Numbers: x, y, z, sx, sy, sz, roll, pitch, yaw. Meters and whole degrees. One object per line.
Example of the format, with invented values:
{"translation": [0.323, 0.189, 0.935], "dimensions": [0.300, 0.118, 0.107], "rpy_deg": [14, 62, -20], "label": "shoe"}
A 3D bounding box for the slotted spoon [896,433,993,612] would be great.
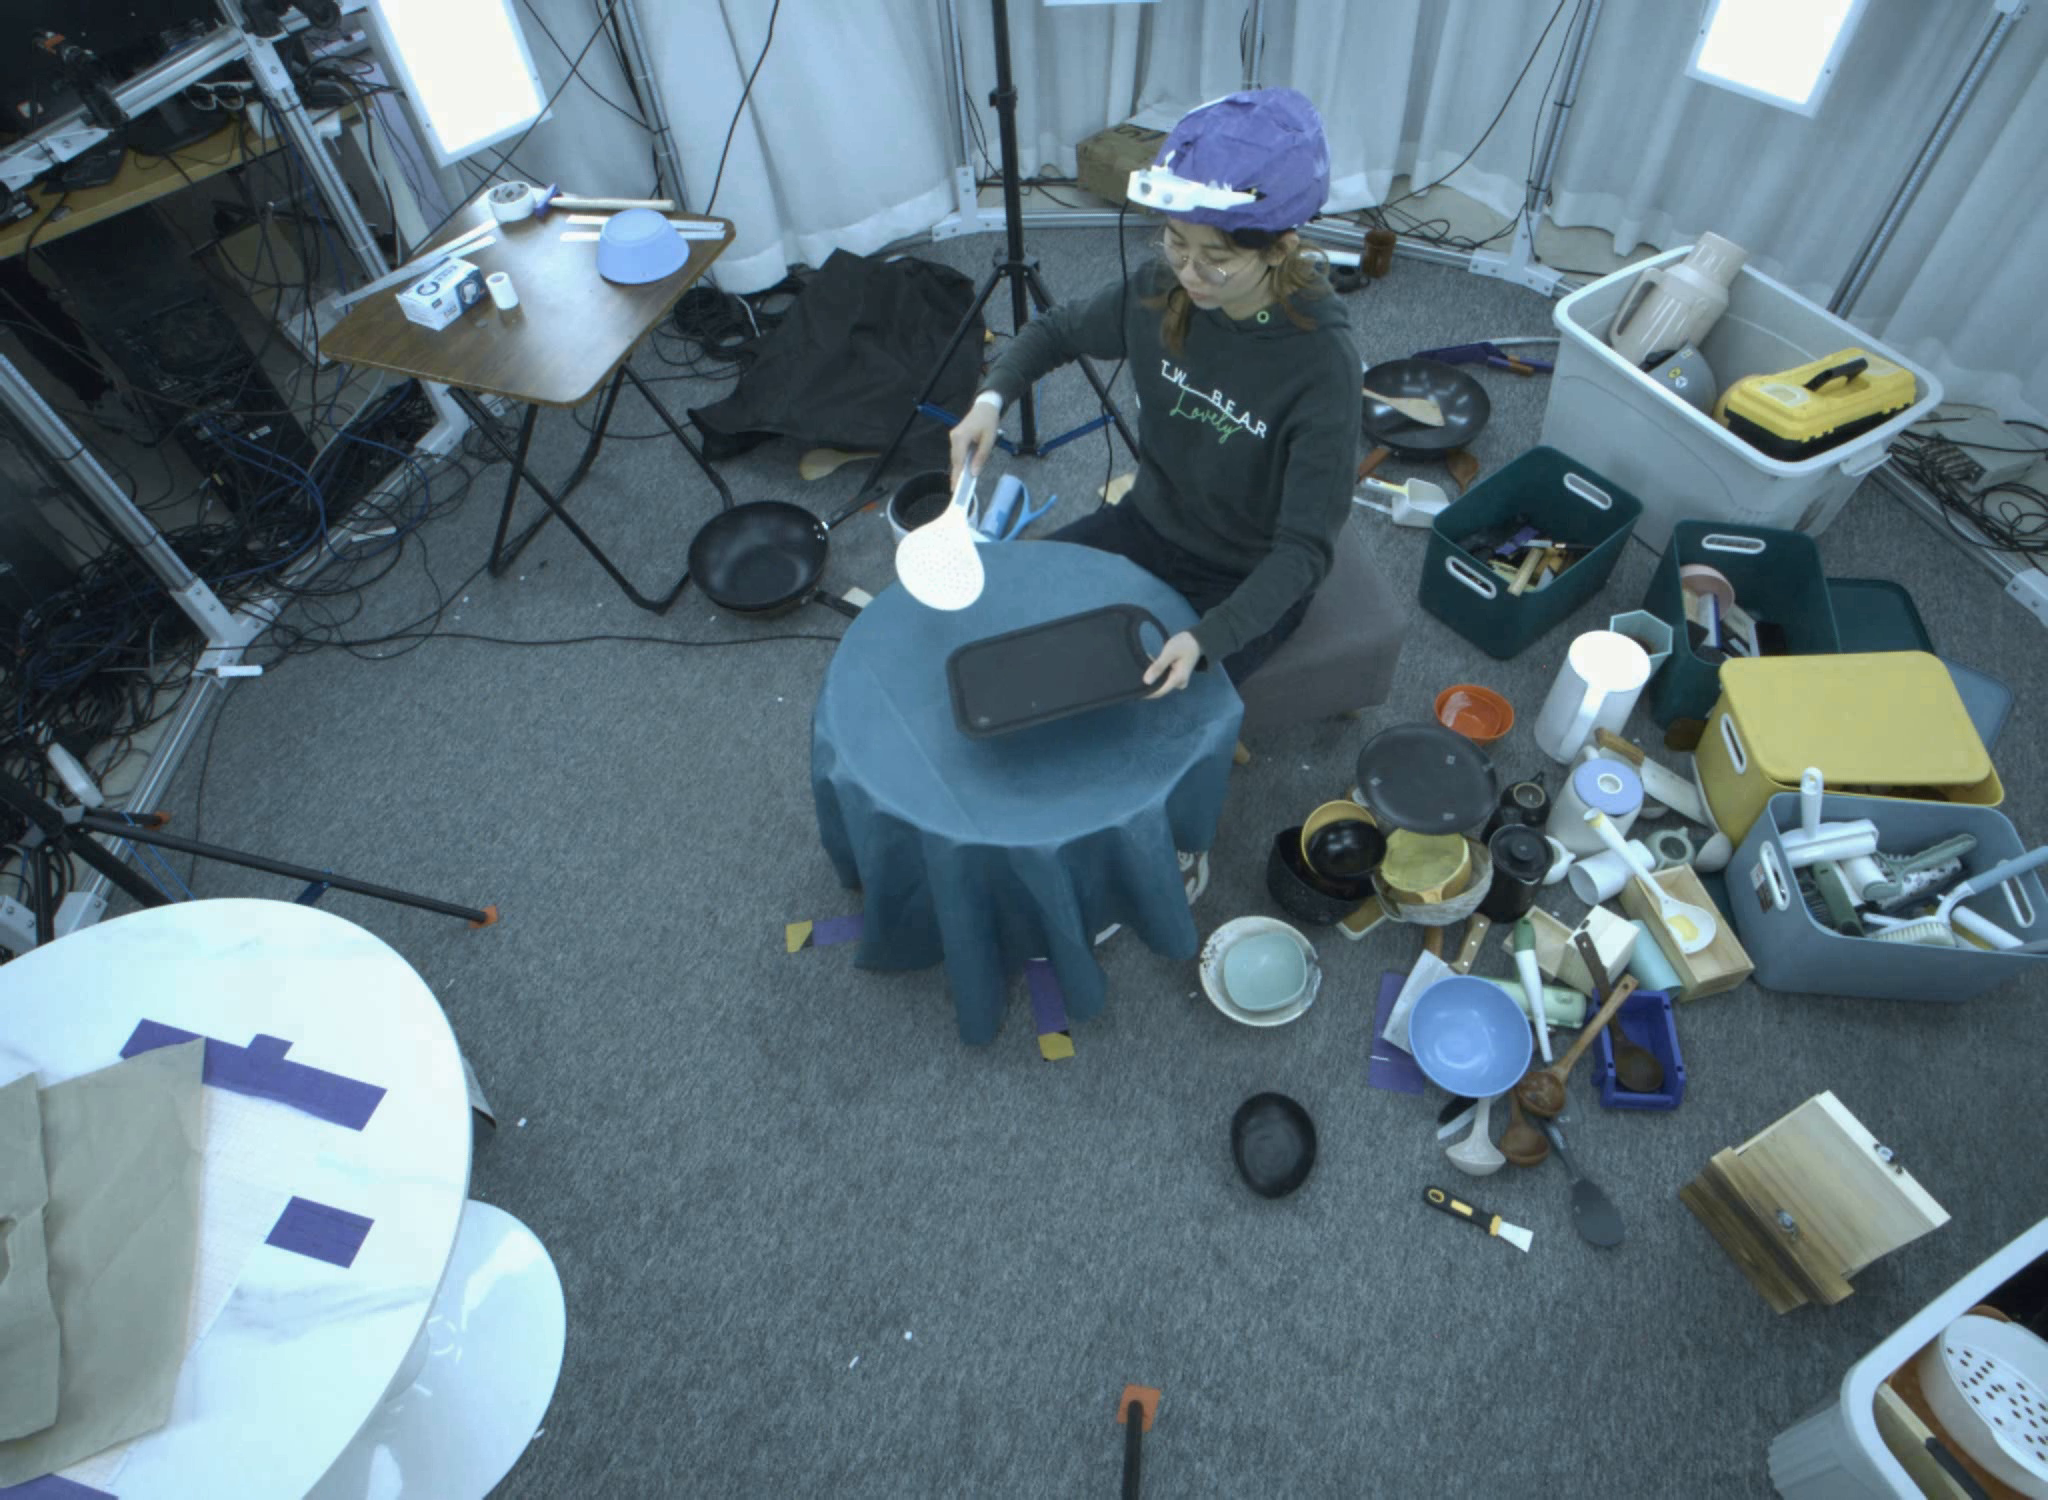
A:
{"translation": [-0.105, -0.353, 1.852], "dimensions": [0.138, 0.045, 0.348], "rpy_deg": [24, 65, -19], "label": "slotted spoon"}

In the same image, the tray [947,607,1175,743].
{"translation": [0.053, -0.114, 1.757], "dimensions": [0.325, 0.010, 0.208], "rpy_deg": [-14, 46, 0], "label": "tray"}
